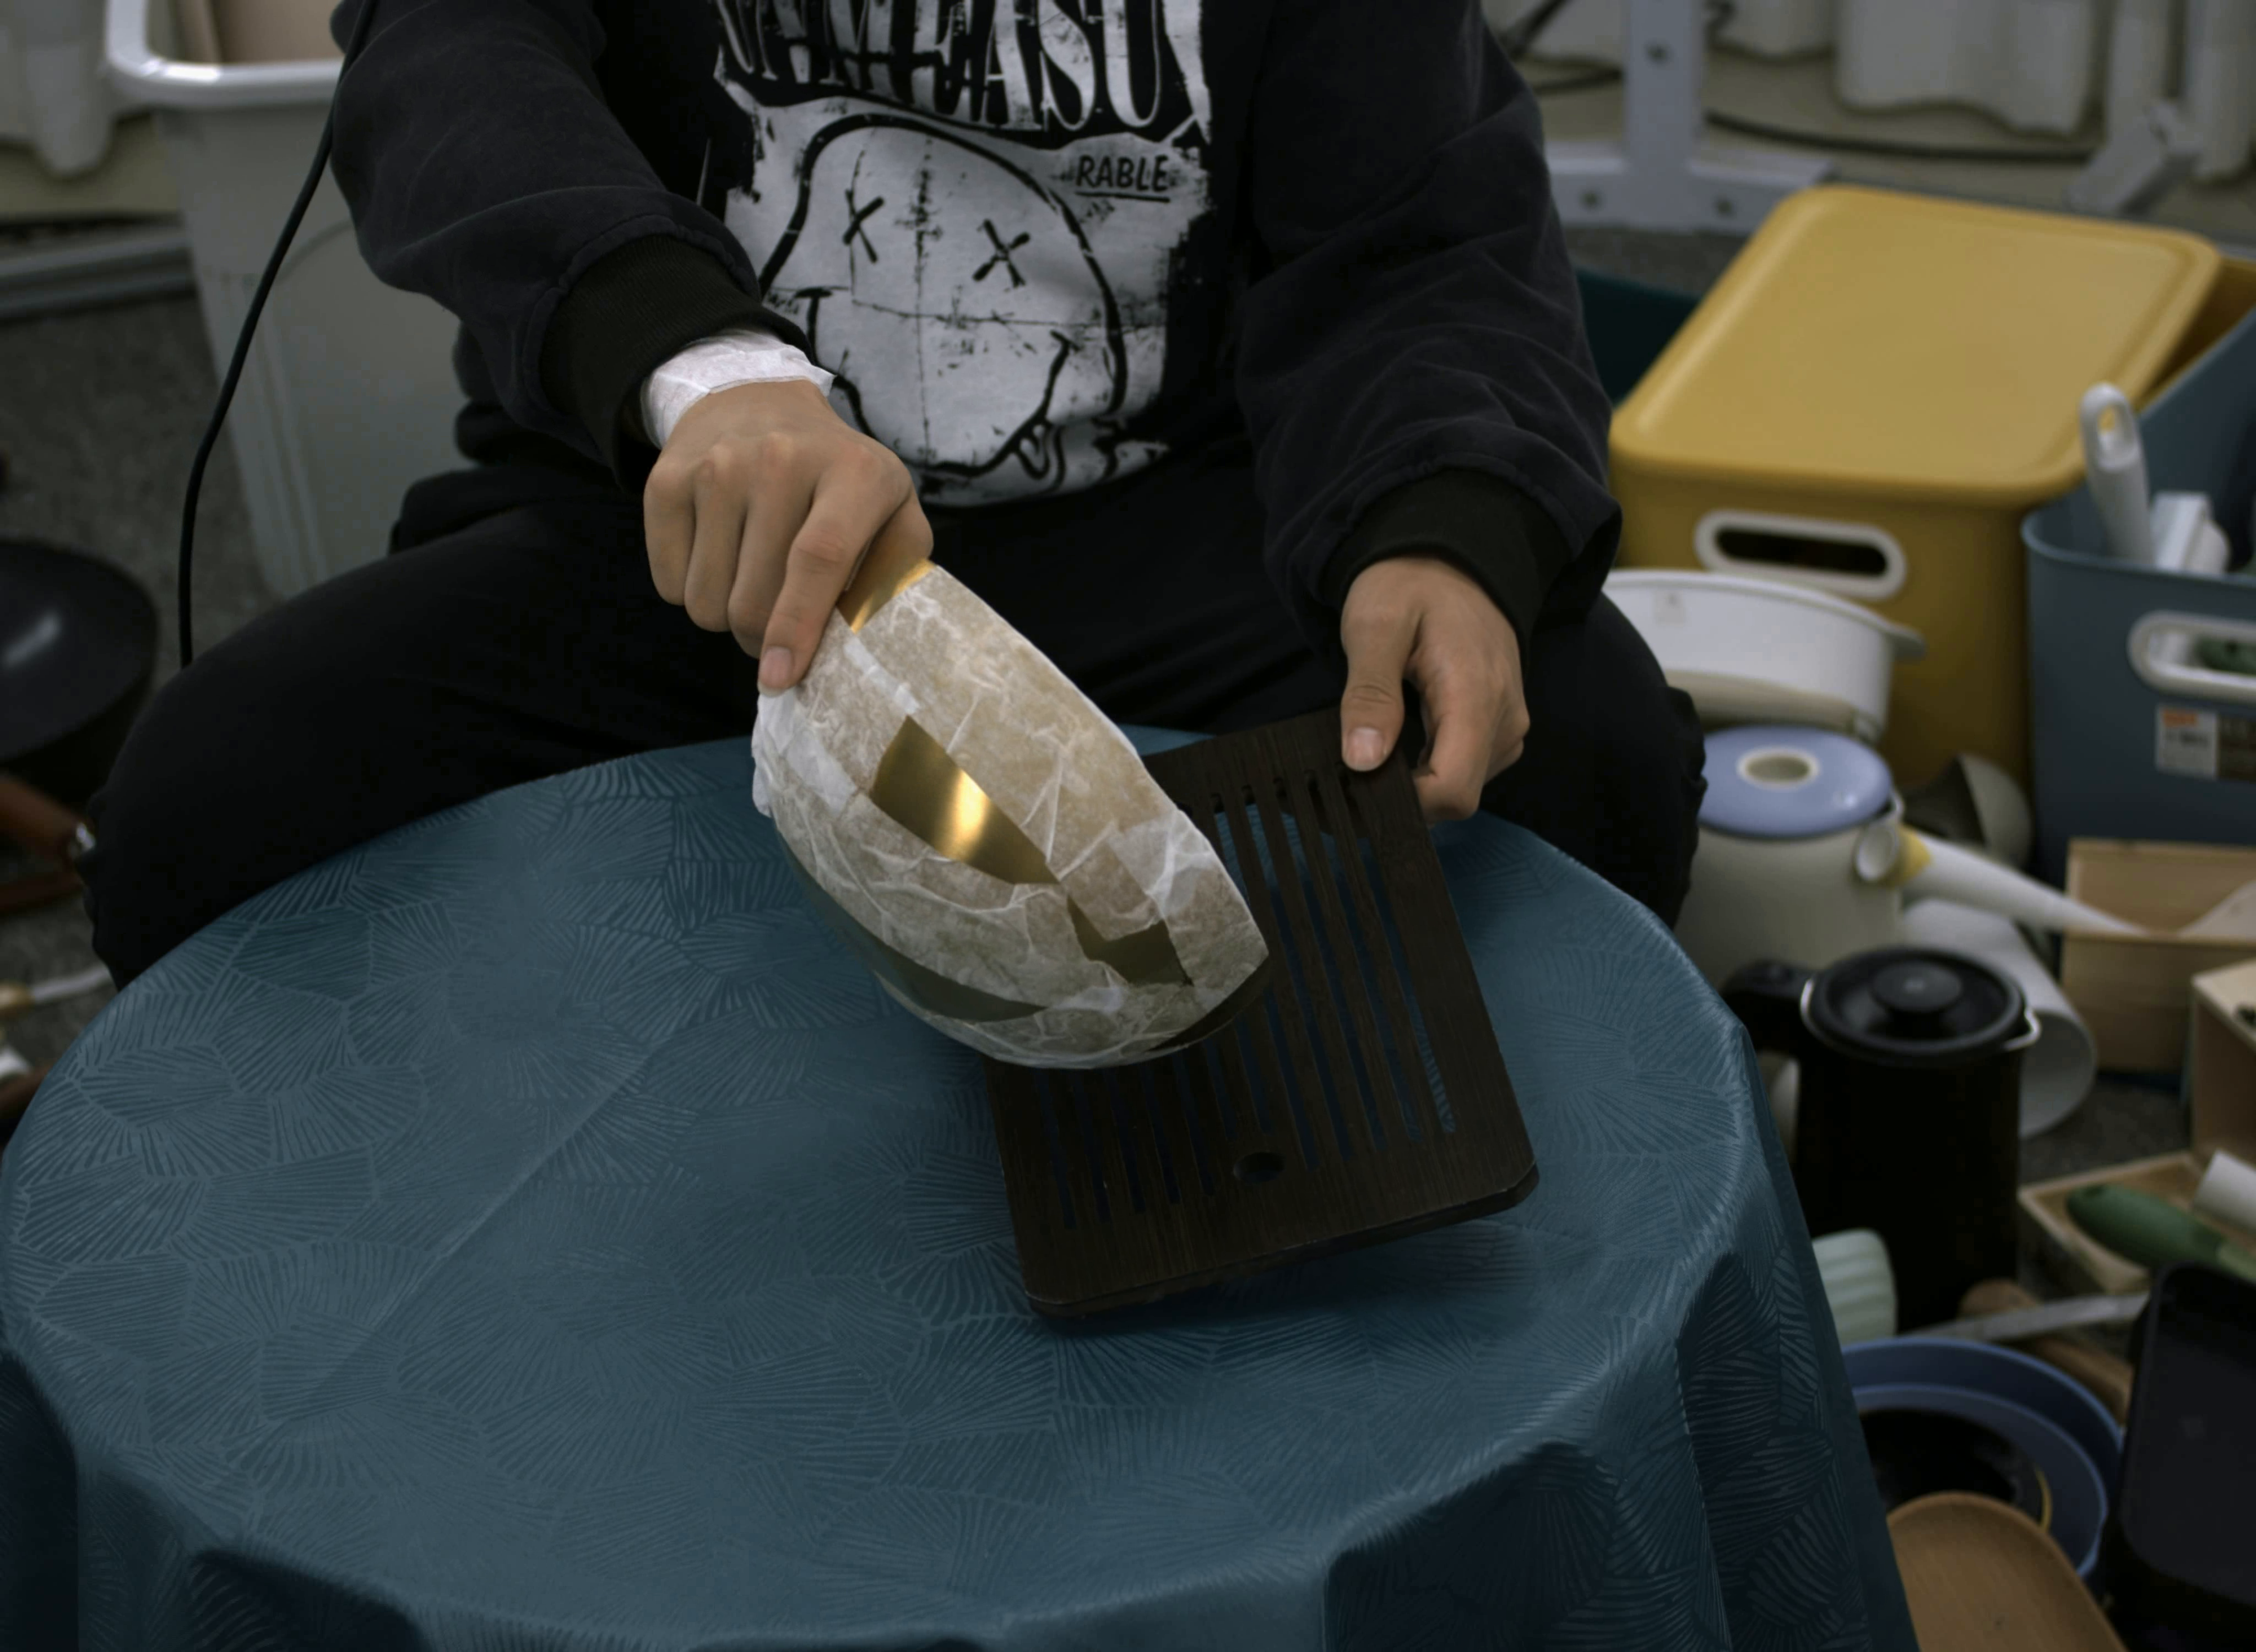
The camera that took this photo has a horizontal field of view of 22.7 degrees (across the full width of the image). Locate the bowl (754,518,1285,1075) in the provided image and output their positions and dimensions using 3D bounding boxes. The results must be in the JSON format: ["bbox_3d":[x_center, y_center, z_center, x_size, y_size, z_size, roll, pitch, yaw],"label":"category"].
[{"bbox_3d":[-0.053,0.011,1.819,0.095,0.212,0.215,-43,40,-12],"label":"bowl"}]

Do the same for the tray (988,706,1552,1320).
[{"bbox_3d":[0.036,0.060,1.908,0.169,0.018,0.310,-14,32,0],"label":"tray"}]
